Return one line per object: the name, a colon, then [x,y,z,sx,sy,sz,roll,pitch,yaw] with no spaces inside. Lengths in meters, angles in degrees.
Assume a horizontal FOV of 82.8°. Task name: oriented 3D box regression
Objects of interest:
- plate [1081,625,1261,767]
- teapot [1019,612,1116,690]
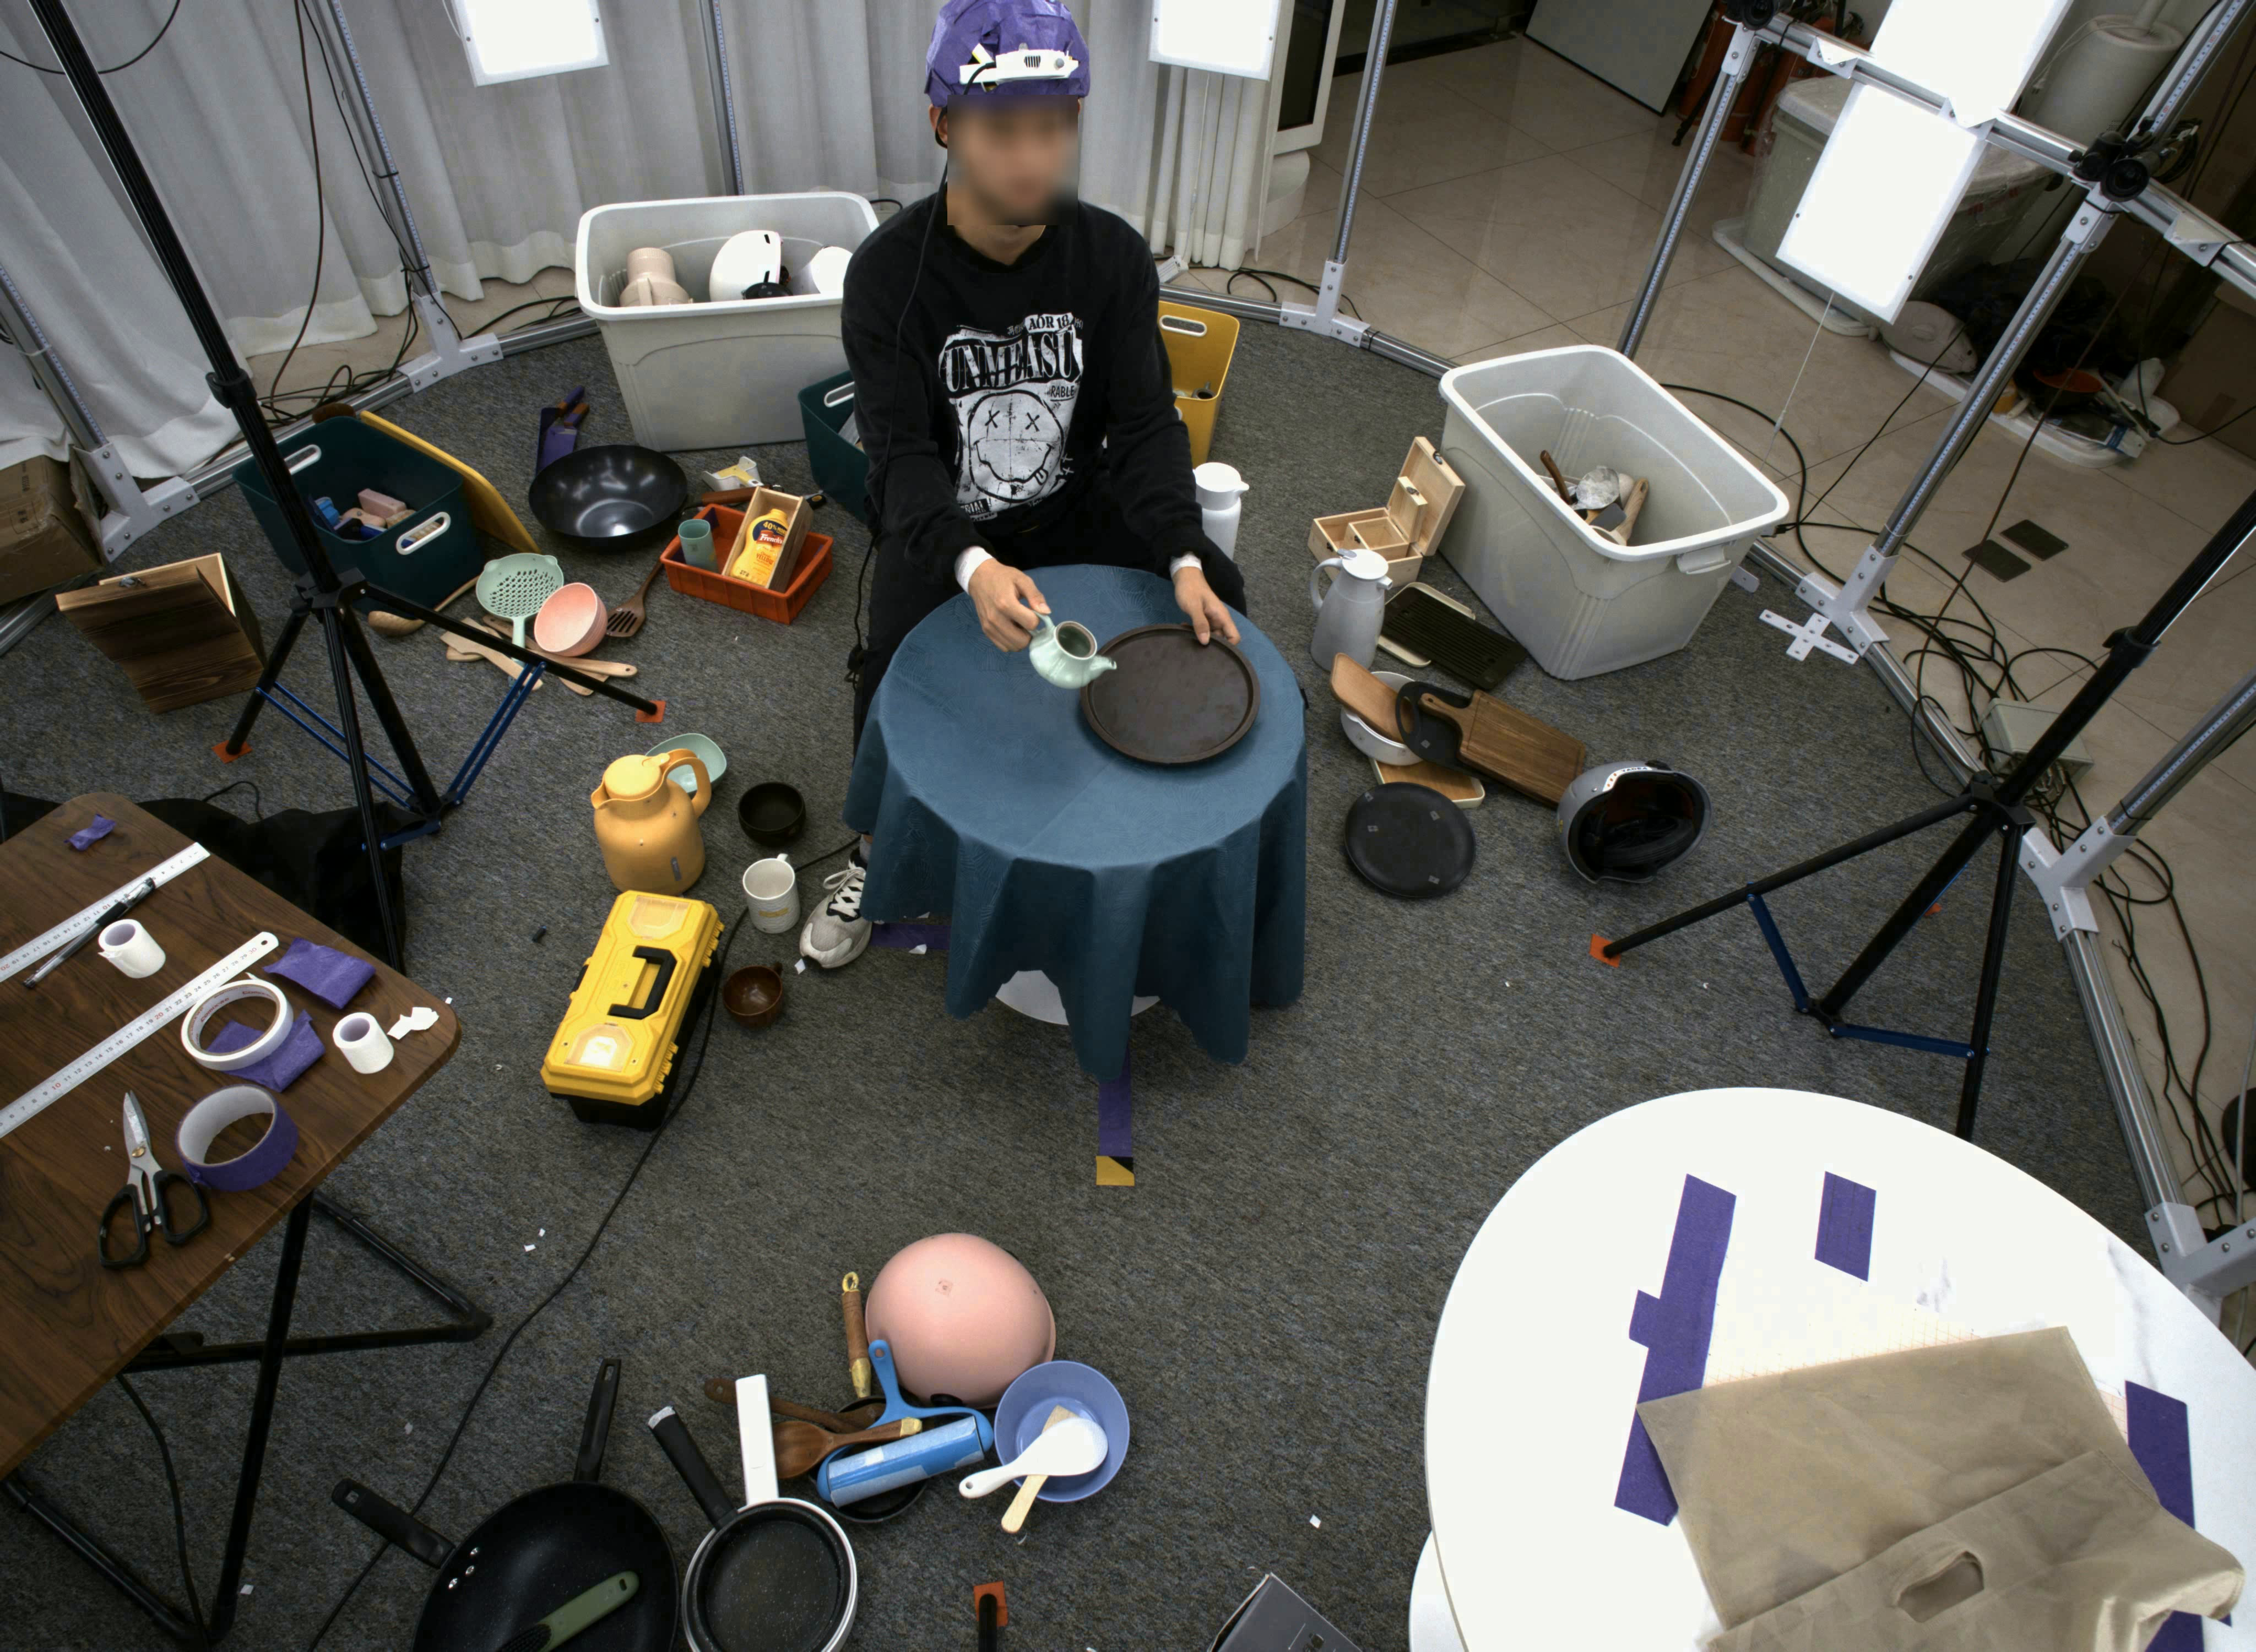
plate: [0.060,-0.184,1.800,0.254,0.028,0.261,-1,56,1]
teapot: [-0.085,-0.231,1.683,0.136,0.060,0.098,32,50,-8]
